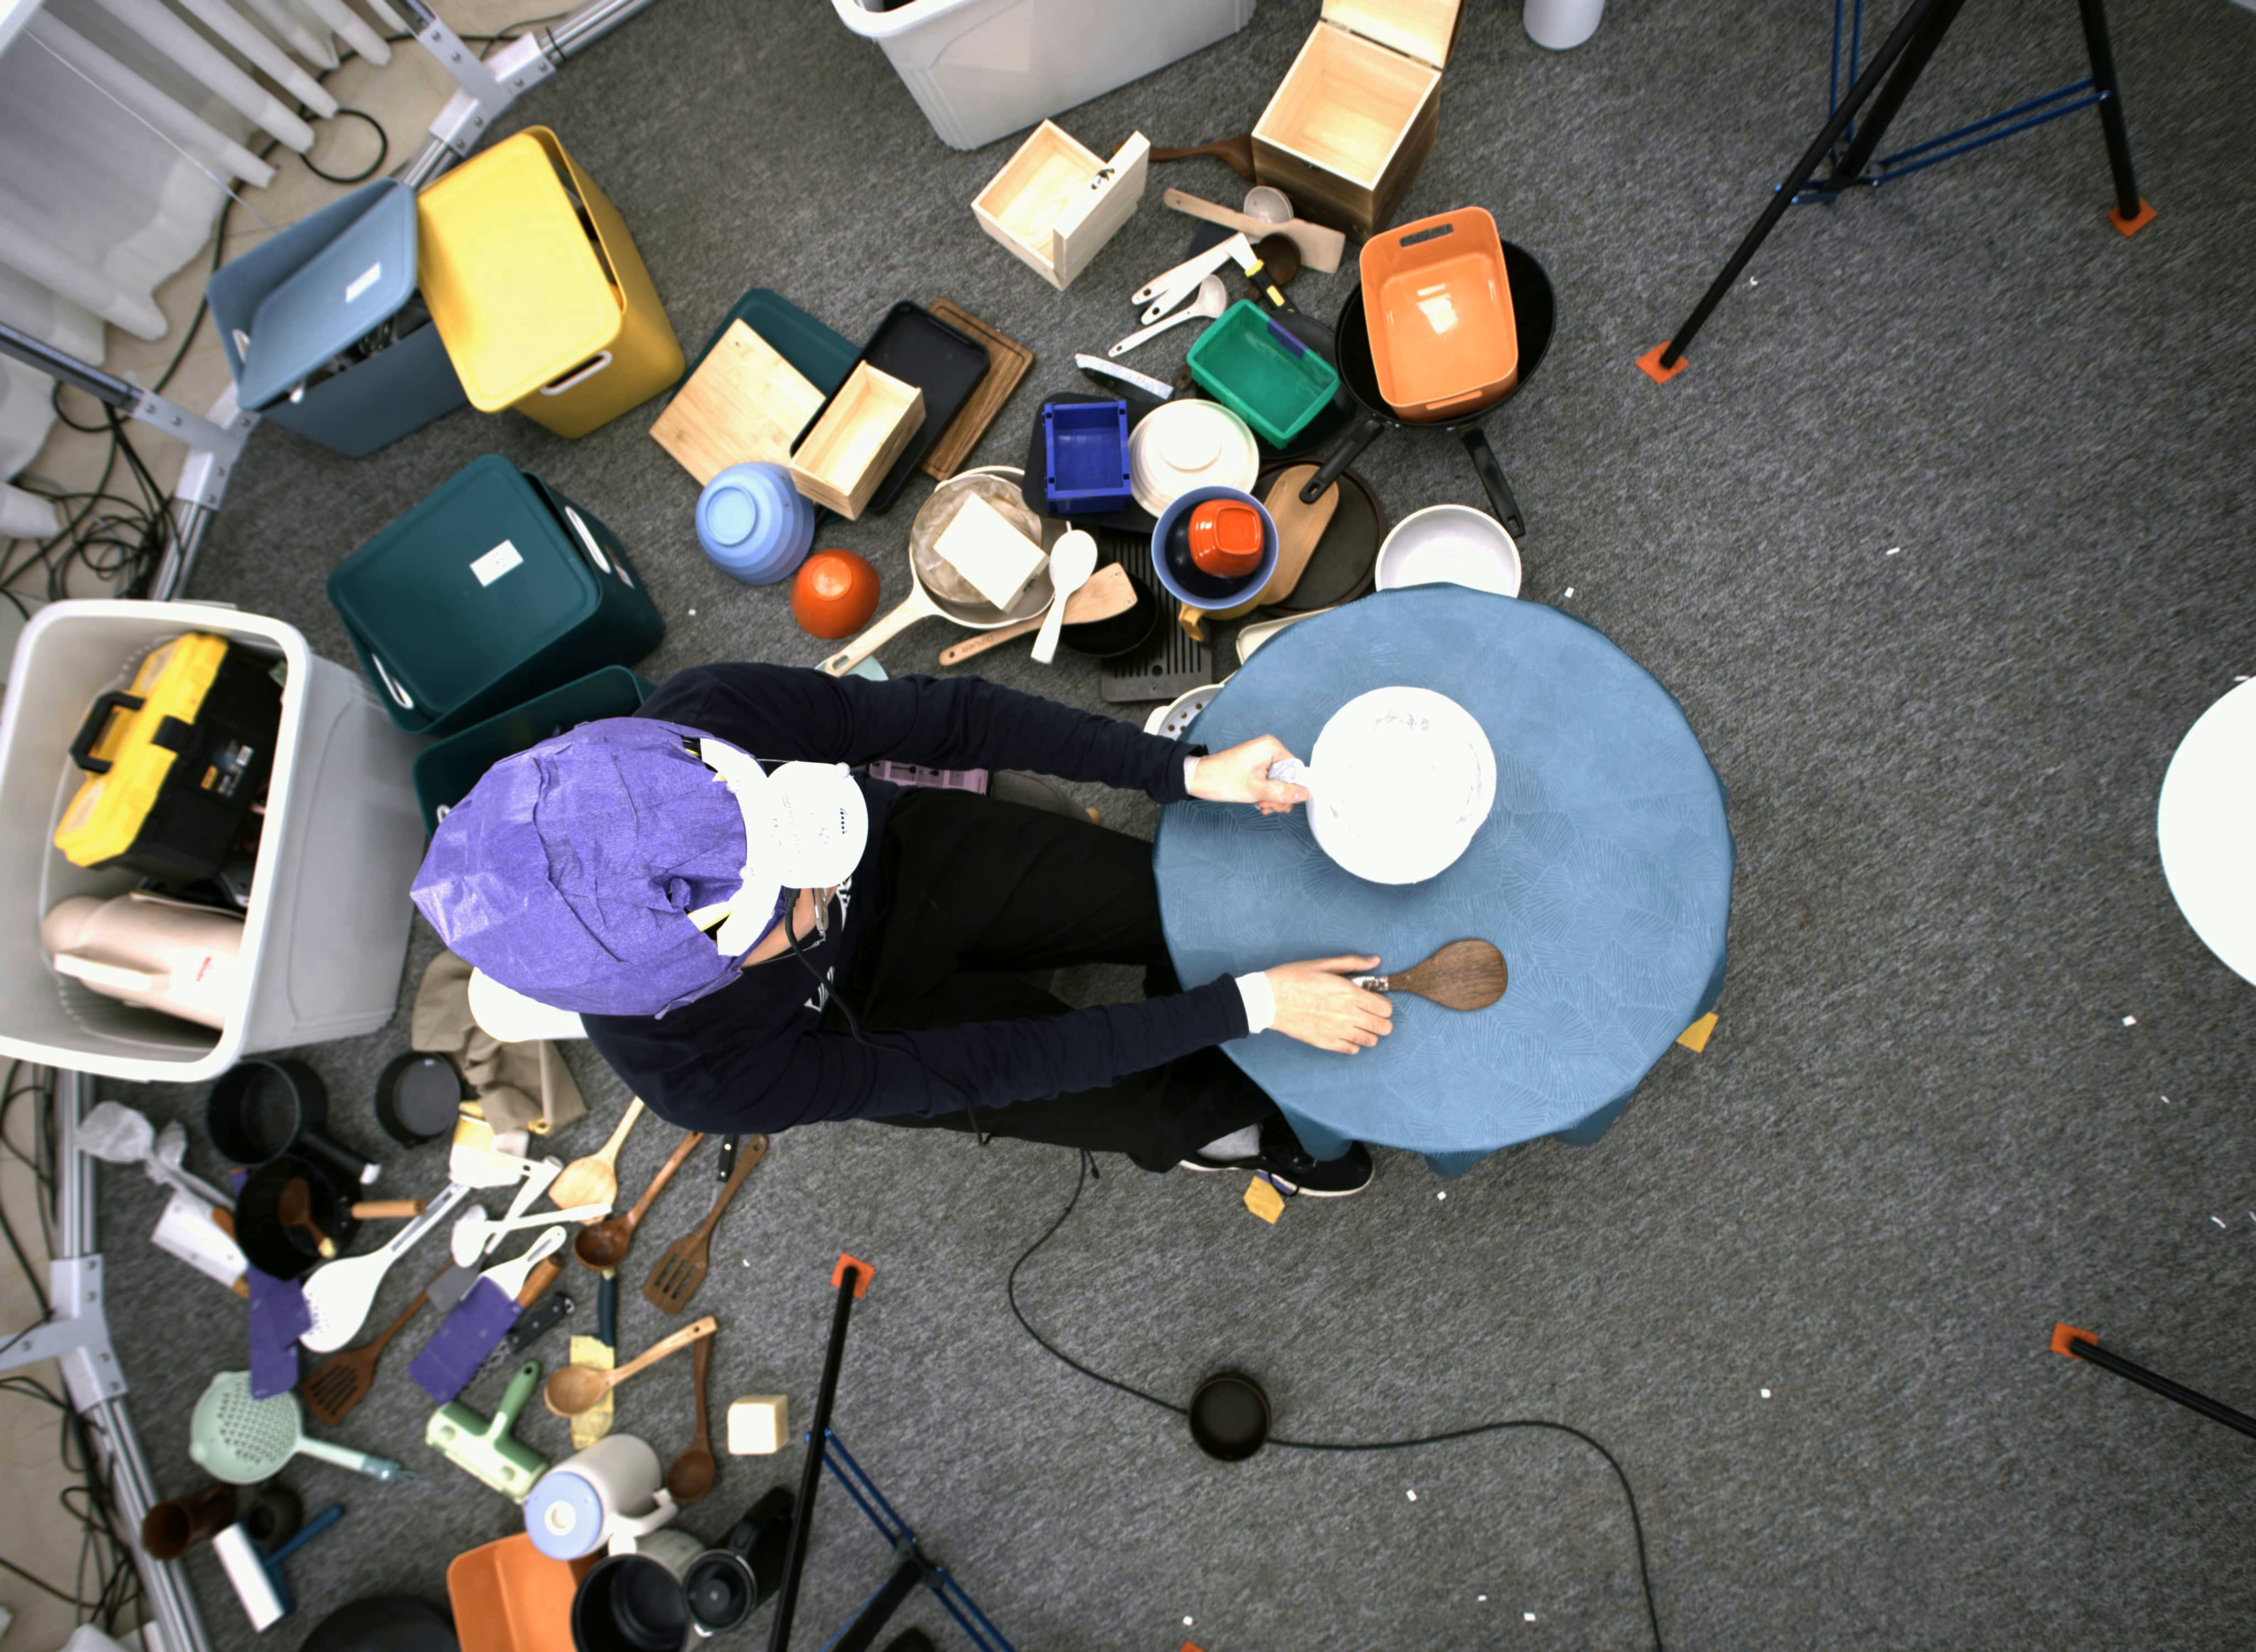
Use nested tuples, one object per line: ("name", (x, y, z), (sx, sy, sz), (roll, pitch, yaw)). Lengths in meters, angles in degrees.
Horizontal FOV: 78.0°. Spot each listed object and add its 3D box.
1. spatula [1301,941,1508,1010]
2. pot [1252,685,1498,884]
("spatula", (0.288, 0.163, 1.449), (0.217, 0.009, 0.071), (-8, 83, 11))
("pot", (0.242, -0.038, 1.385), (0.234, 0.138, 0.176), (2, 77, 4))
